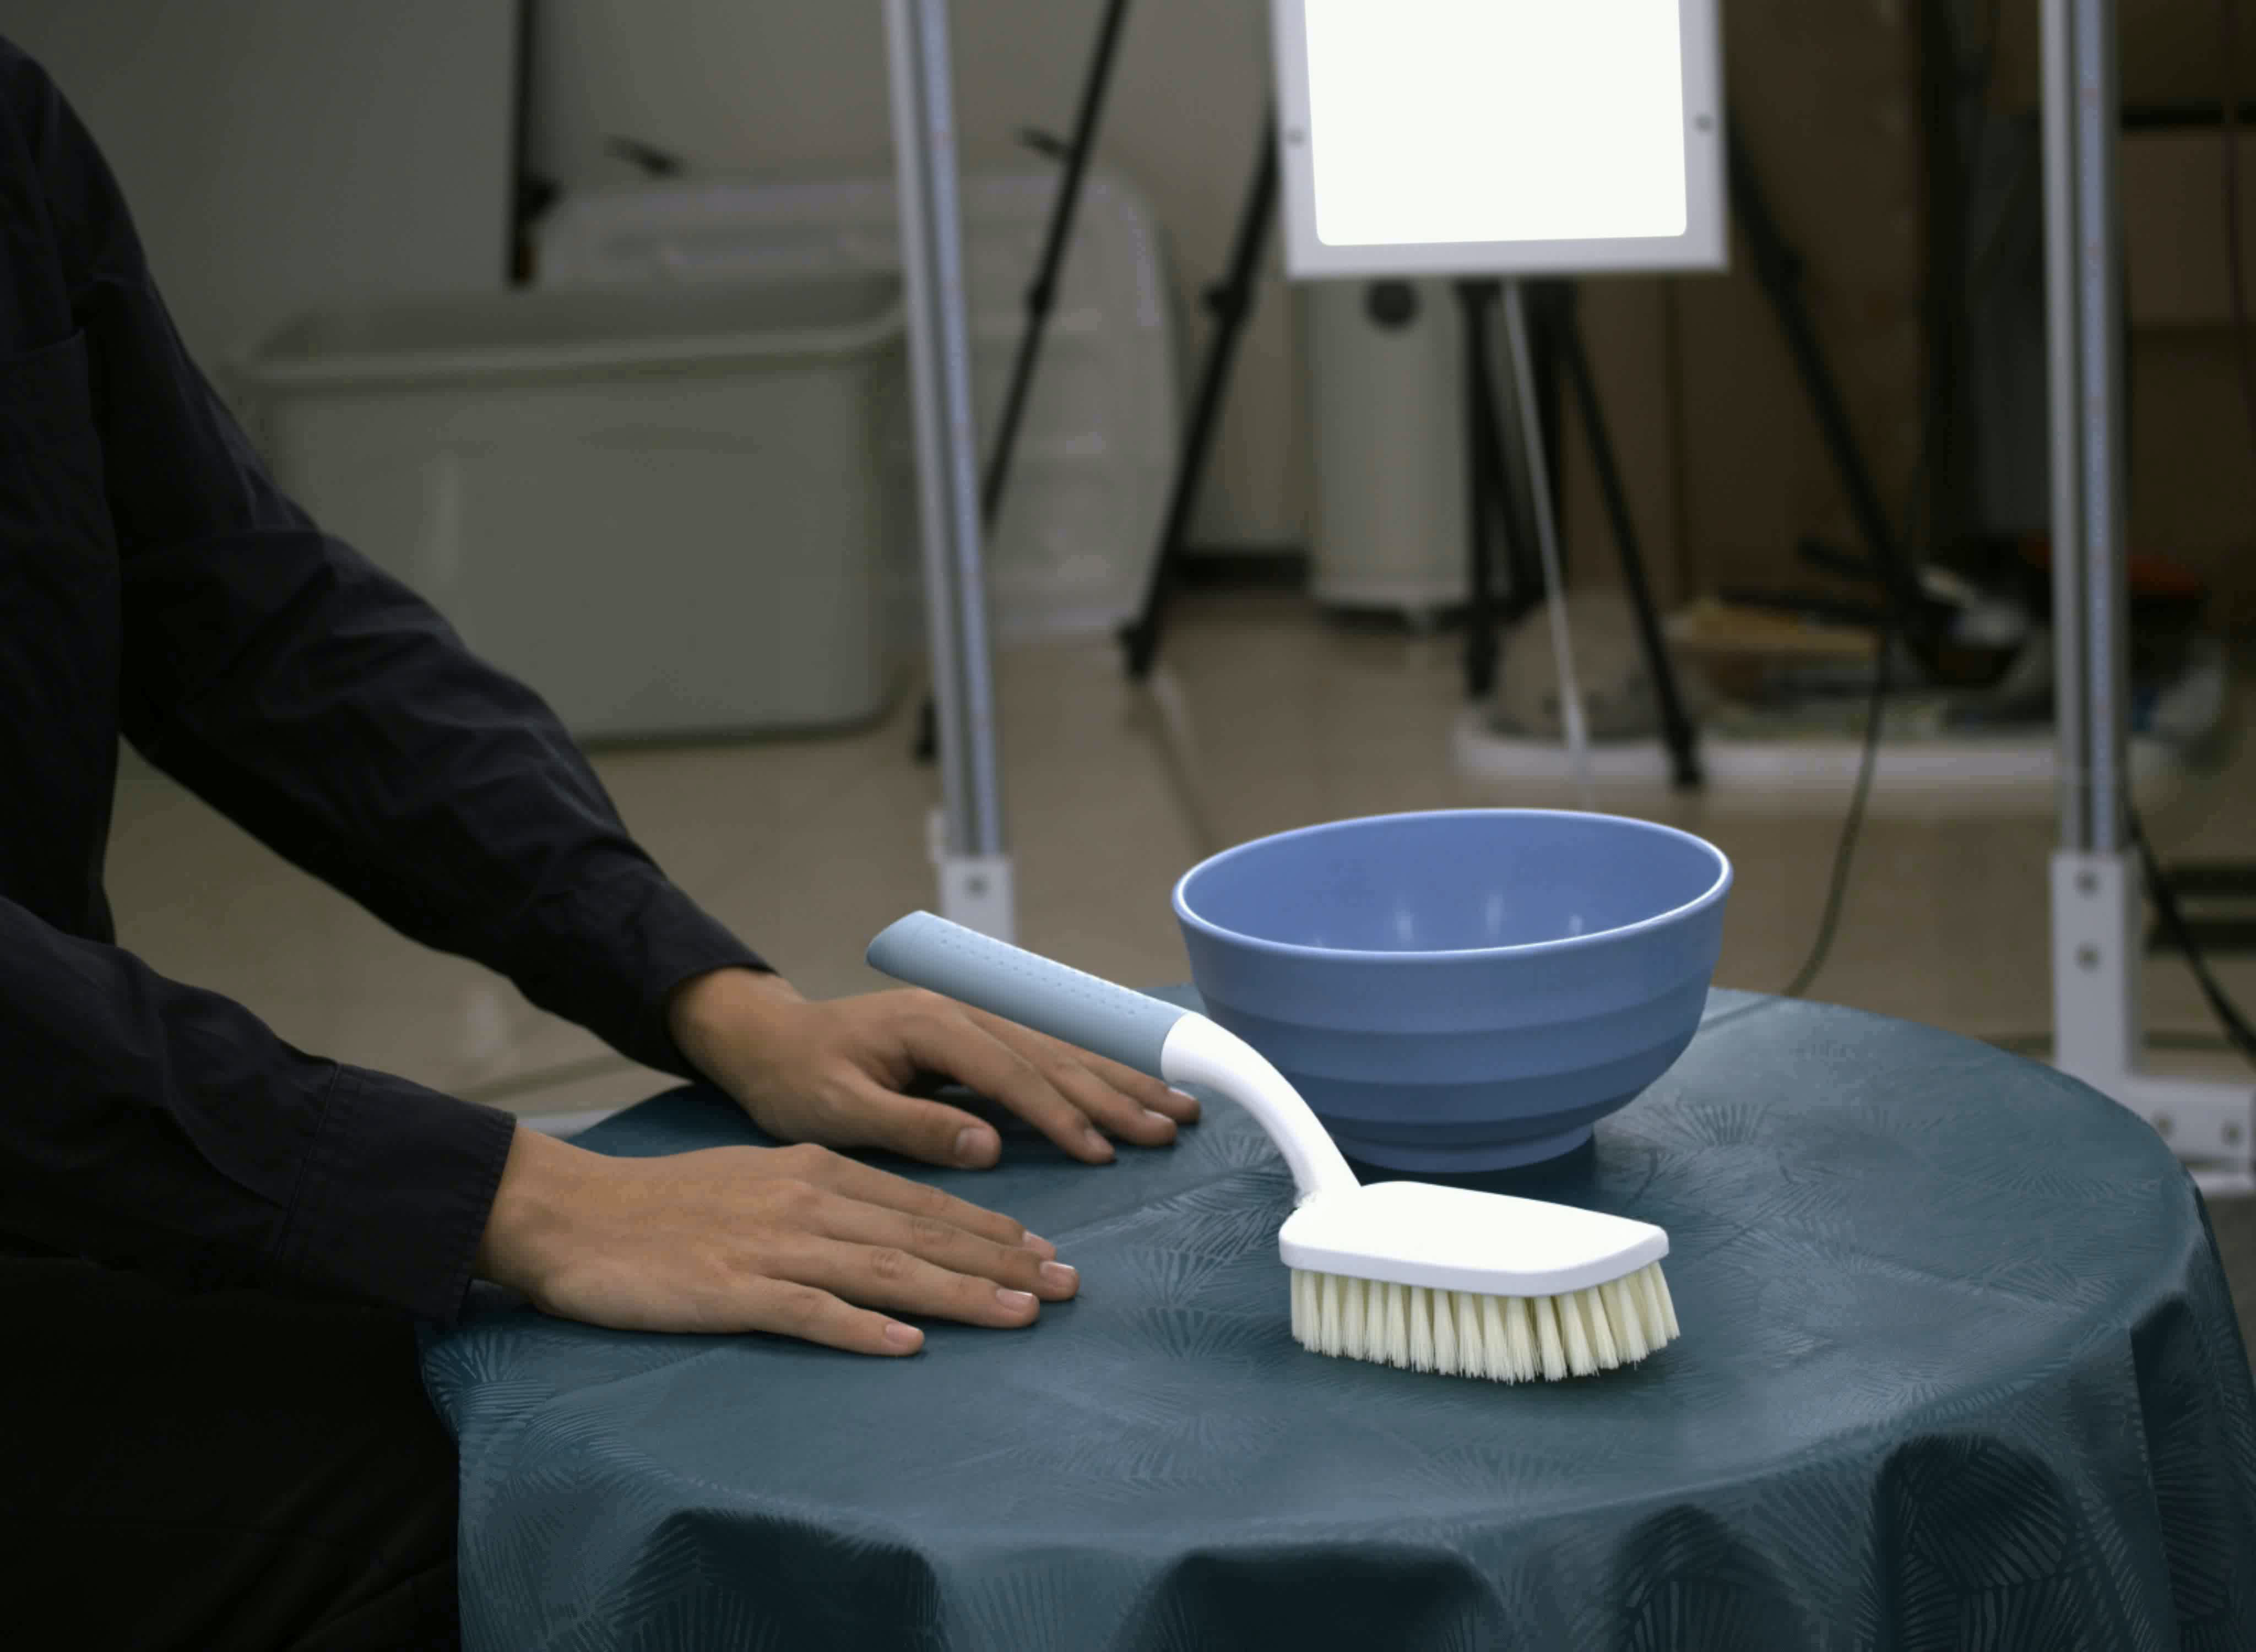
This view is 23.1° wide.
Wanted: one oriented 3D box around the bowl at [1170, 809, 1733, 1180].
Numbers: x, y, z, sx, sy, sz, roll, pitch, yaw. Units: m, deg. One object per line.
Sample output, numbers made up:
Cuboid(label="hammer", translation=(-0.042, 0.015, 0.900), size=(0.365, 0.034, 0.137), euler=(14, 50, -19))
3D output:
Cuboid(label="bowl", translation=(0.116, 0.065, 1.919), size=(0.196, 0.096, 0.196), euler=(-6, 14, 0))

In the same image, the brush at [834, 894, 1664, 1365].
Cuboid(label="brush", translation=(0.033, 0.111, 1.772), size=(0.331, 0.084, 0.082), euler=(20, -12, 35))
